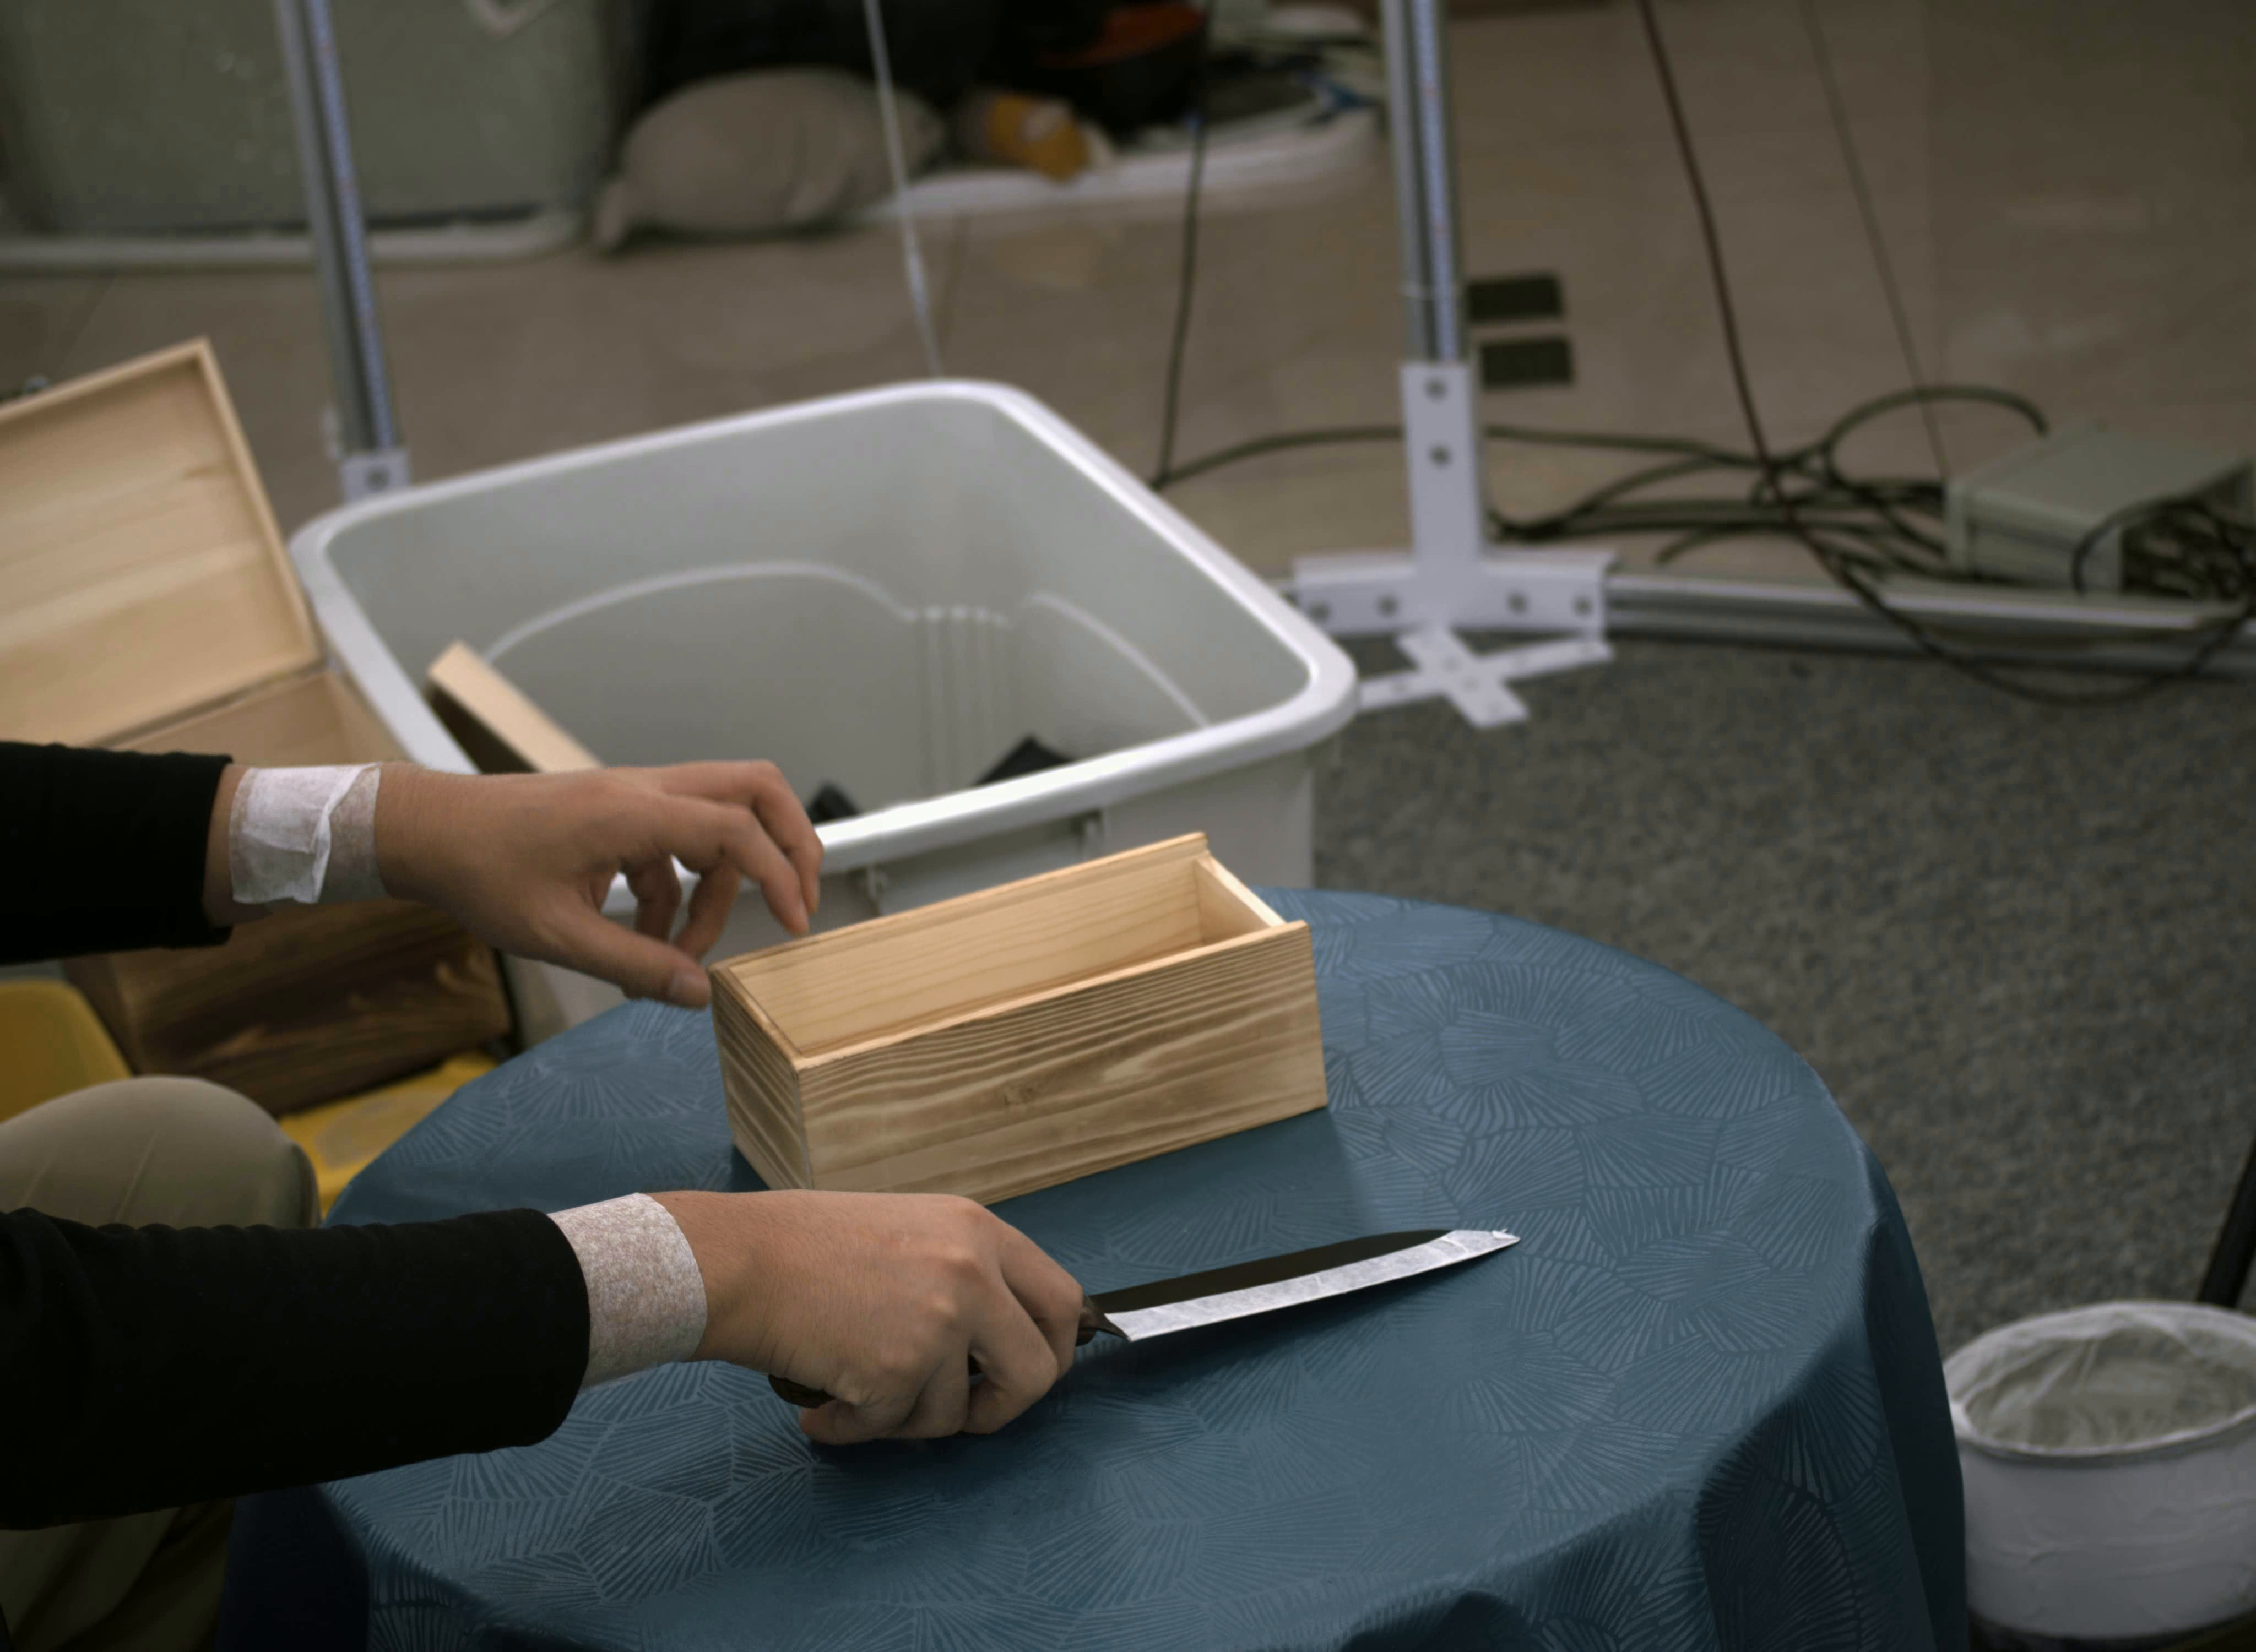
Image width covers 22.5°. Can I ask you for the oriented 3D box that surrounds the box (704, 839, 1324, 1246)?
[{"bbox_3d":[-0.044,0.081,2.187,0.210,0.081,0.106,-15,26,-18],"label":"box"}]

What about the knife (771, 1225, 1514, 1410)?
[{"bbox_3d":[0.009,0.172,2.033,0.288,0.020,0.050,-9,21,-22],"label":"knife"}]
